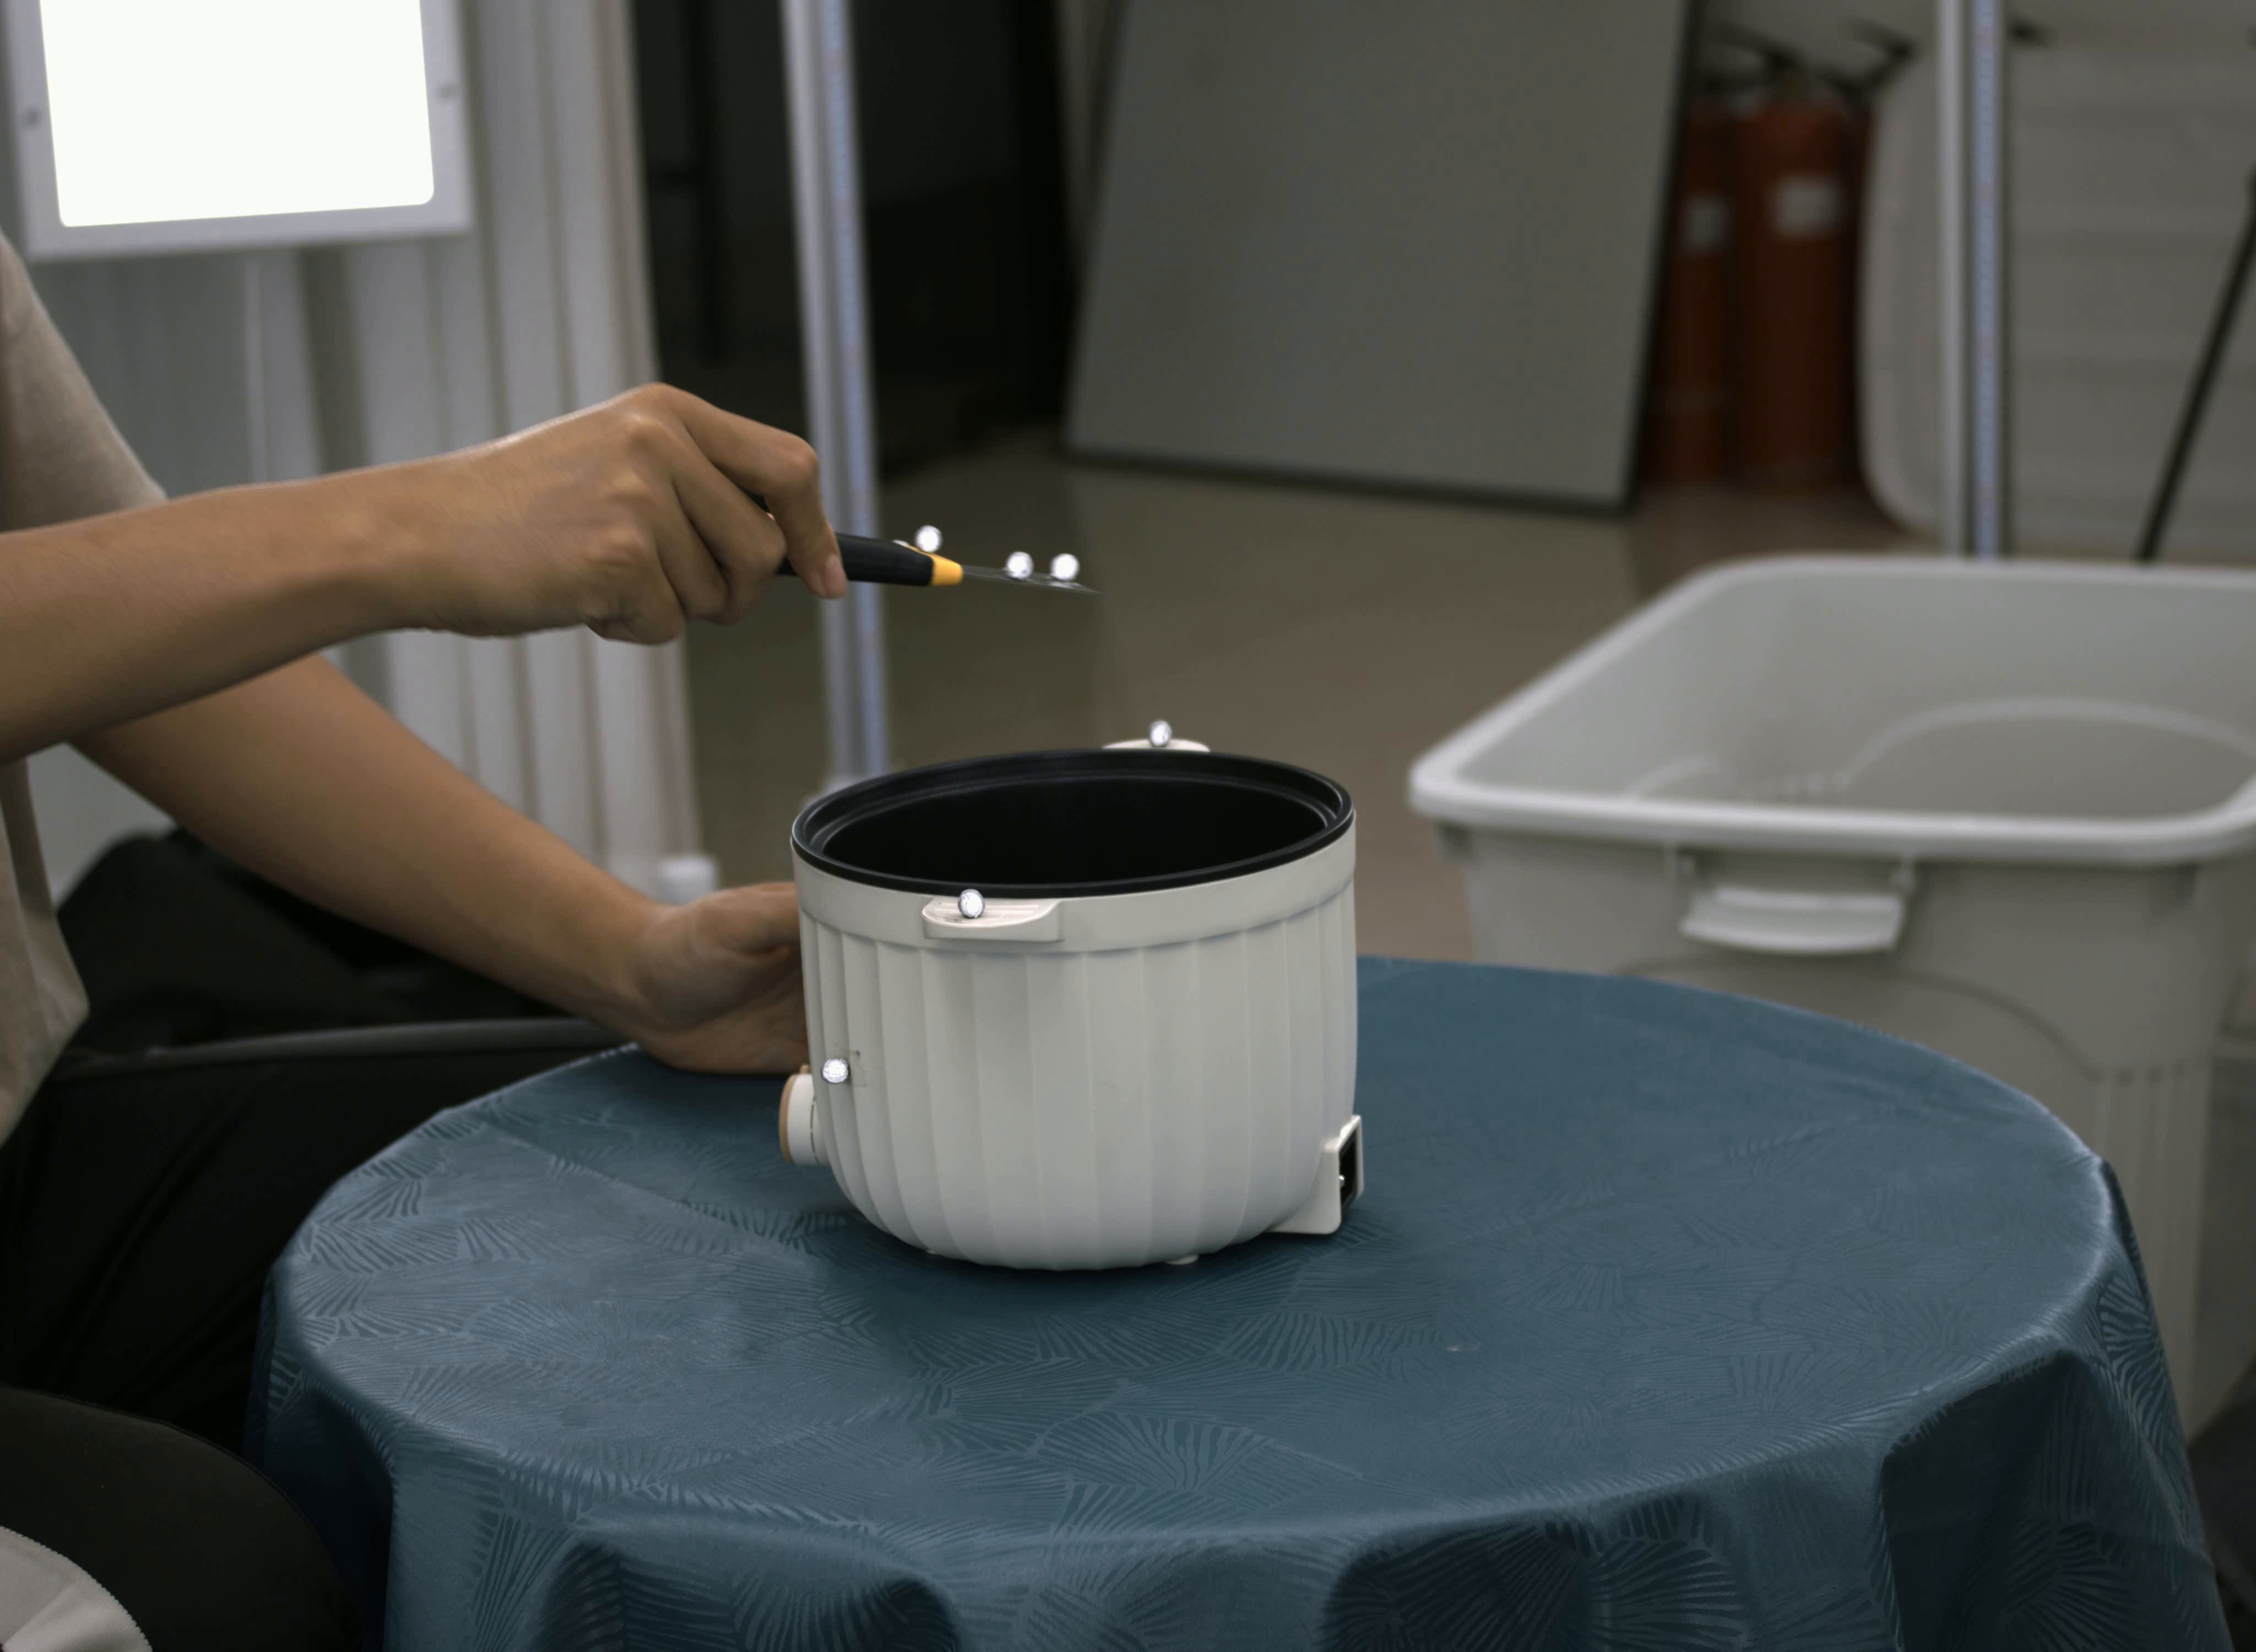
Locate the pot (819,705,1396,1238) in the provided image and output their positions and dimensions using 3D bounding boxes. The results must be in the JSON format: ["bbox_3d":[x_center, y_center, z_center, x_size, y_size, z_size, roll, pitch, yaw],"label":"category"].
[{"bbox_3d":[-0.007,0.050,1.747,0.189,0.144,0.238,4,14,14],"label":"pot"}]

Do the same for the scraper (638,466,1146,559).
[{"bbox_3d":[-0.073,-0.096,1.677,0.167,0.015,0.039,5,15,-28],"label":"scraper"}]
